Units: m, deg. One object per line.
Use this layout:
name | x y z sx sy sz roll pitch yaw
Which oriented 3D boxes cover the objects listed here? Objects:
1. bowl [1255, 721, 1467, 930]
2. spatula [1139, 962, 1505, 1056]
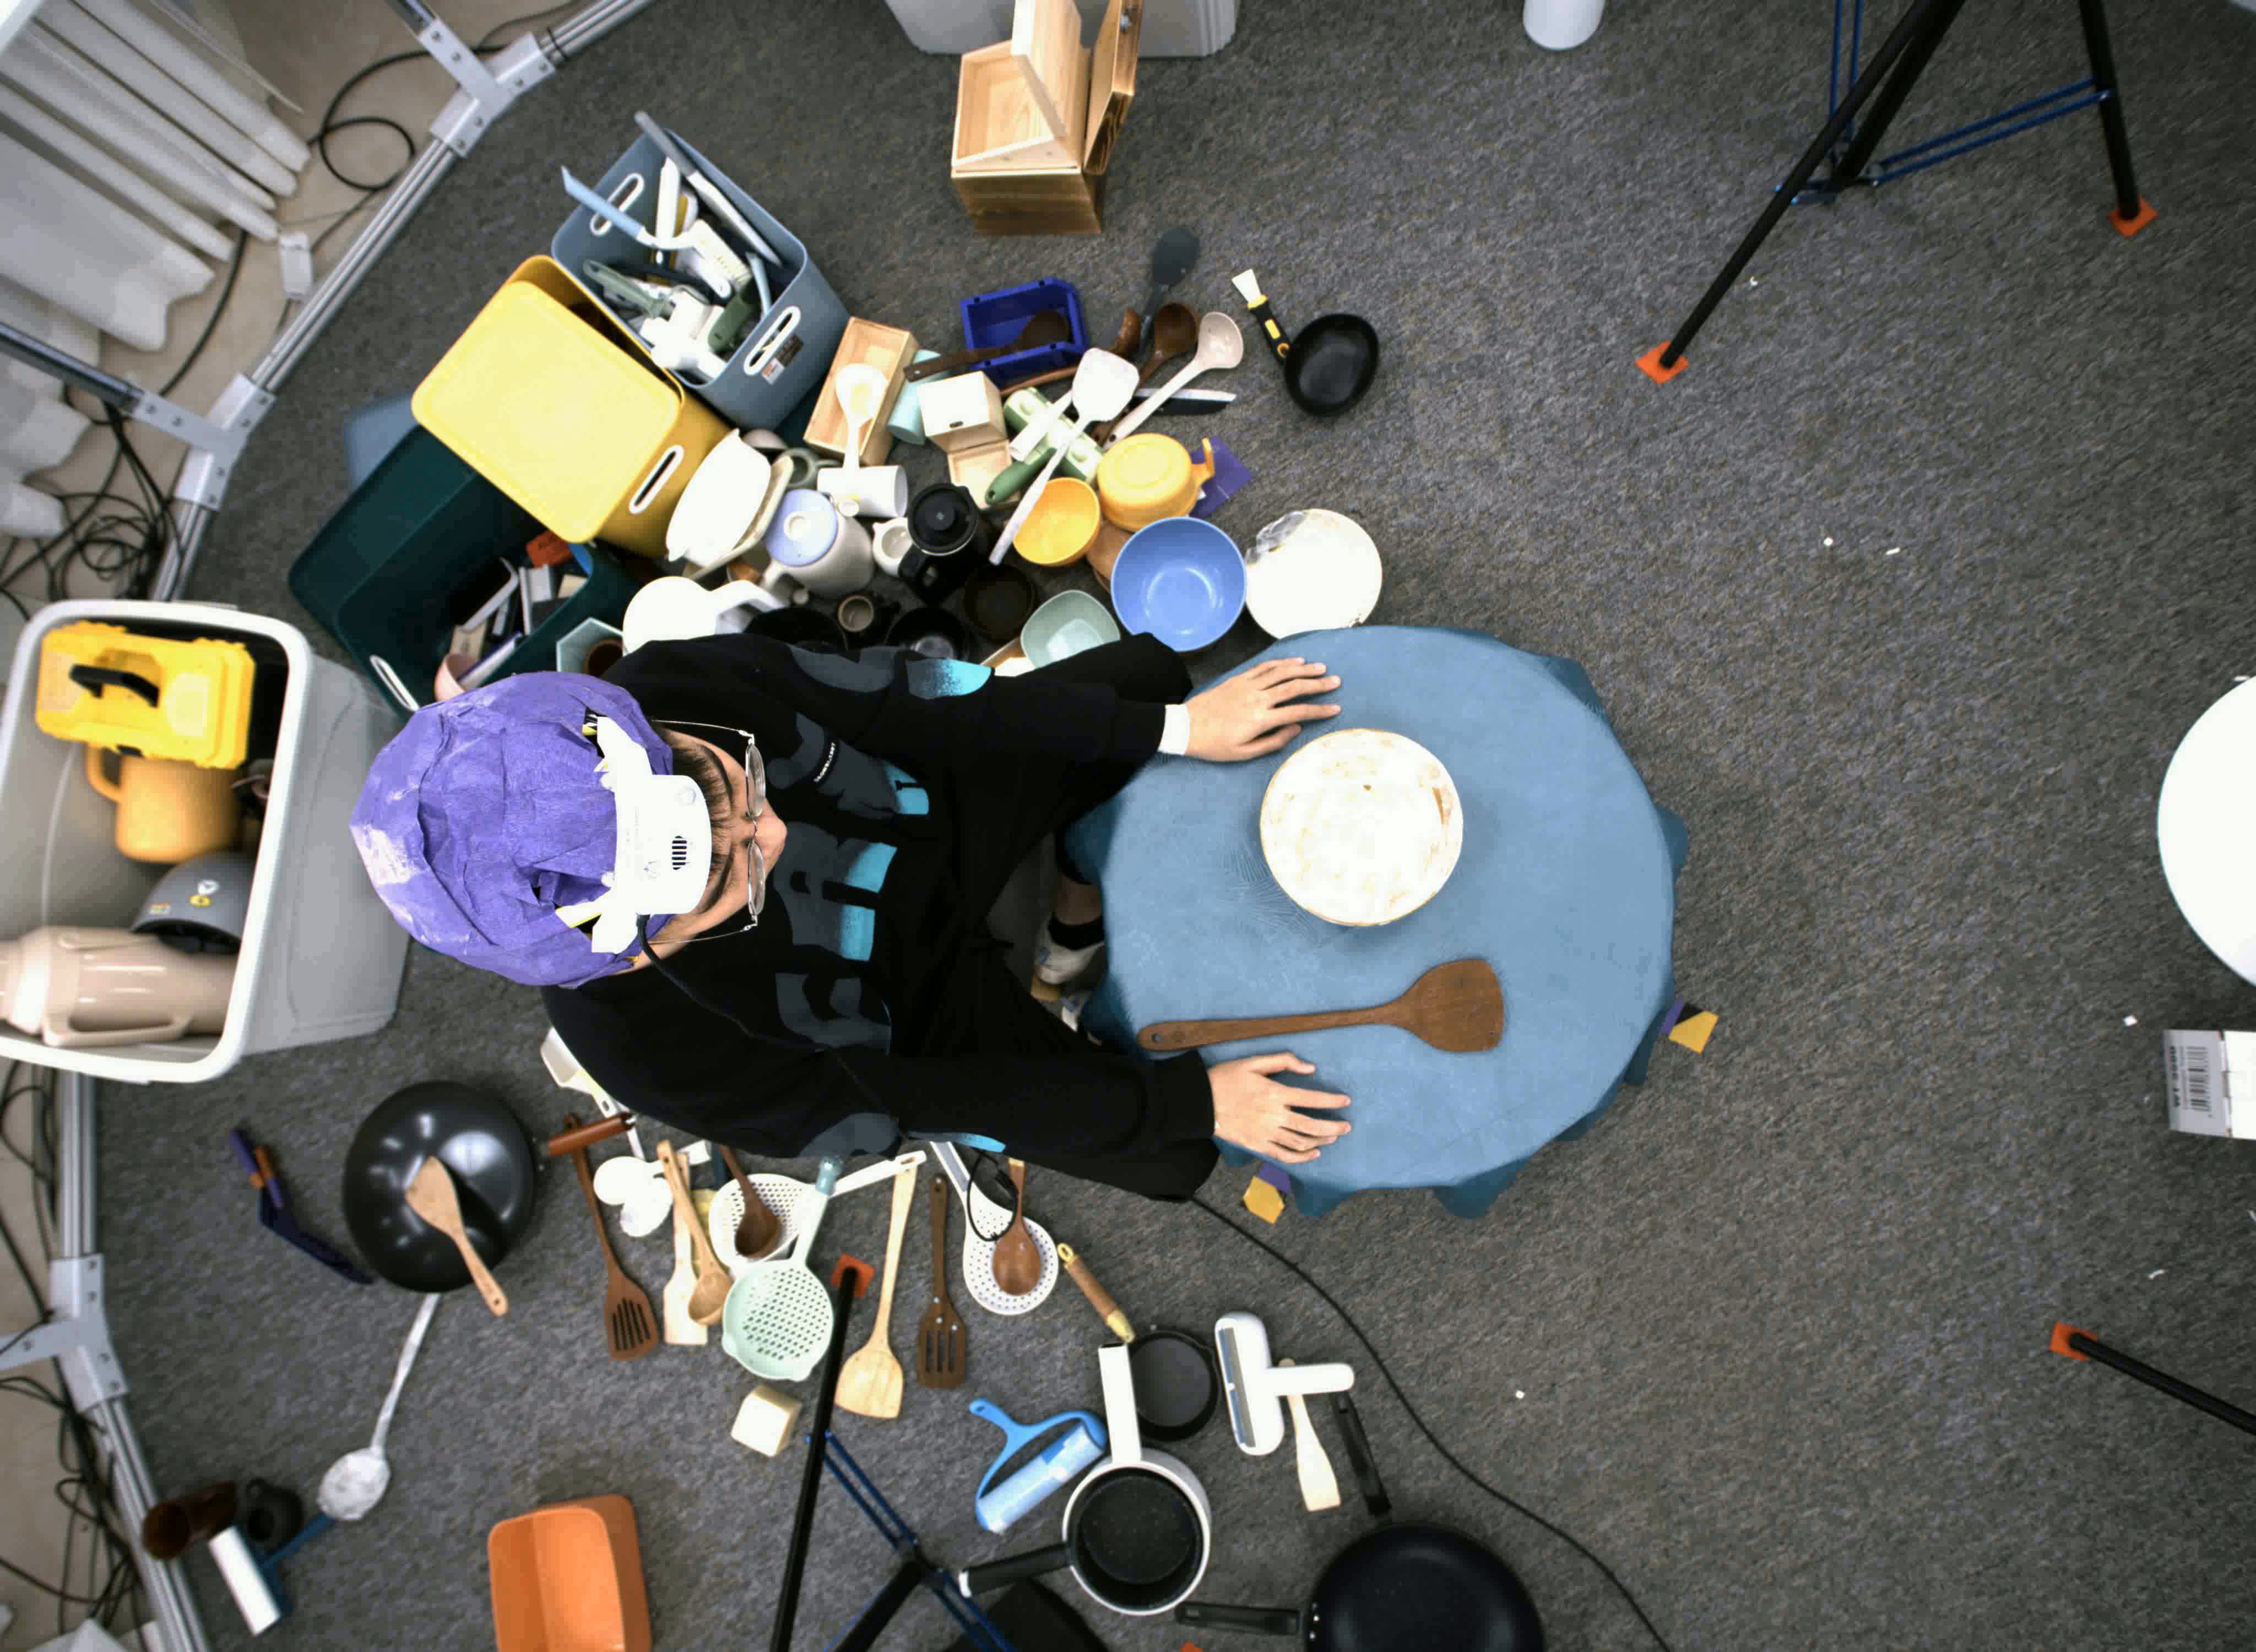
bowl | 0.241 0.004 1.428 0.215 0.094 0.214 -1 87 11
spatula | 0.200 0.208 1.461 0.388 0.016 0.095 -8 84 10
